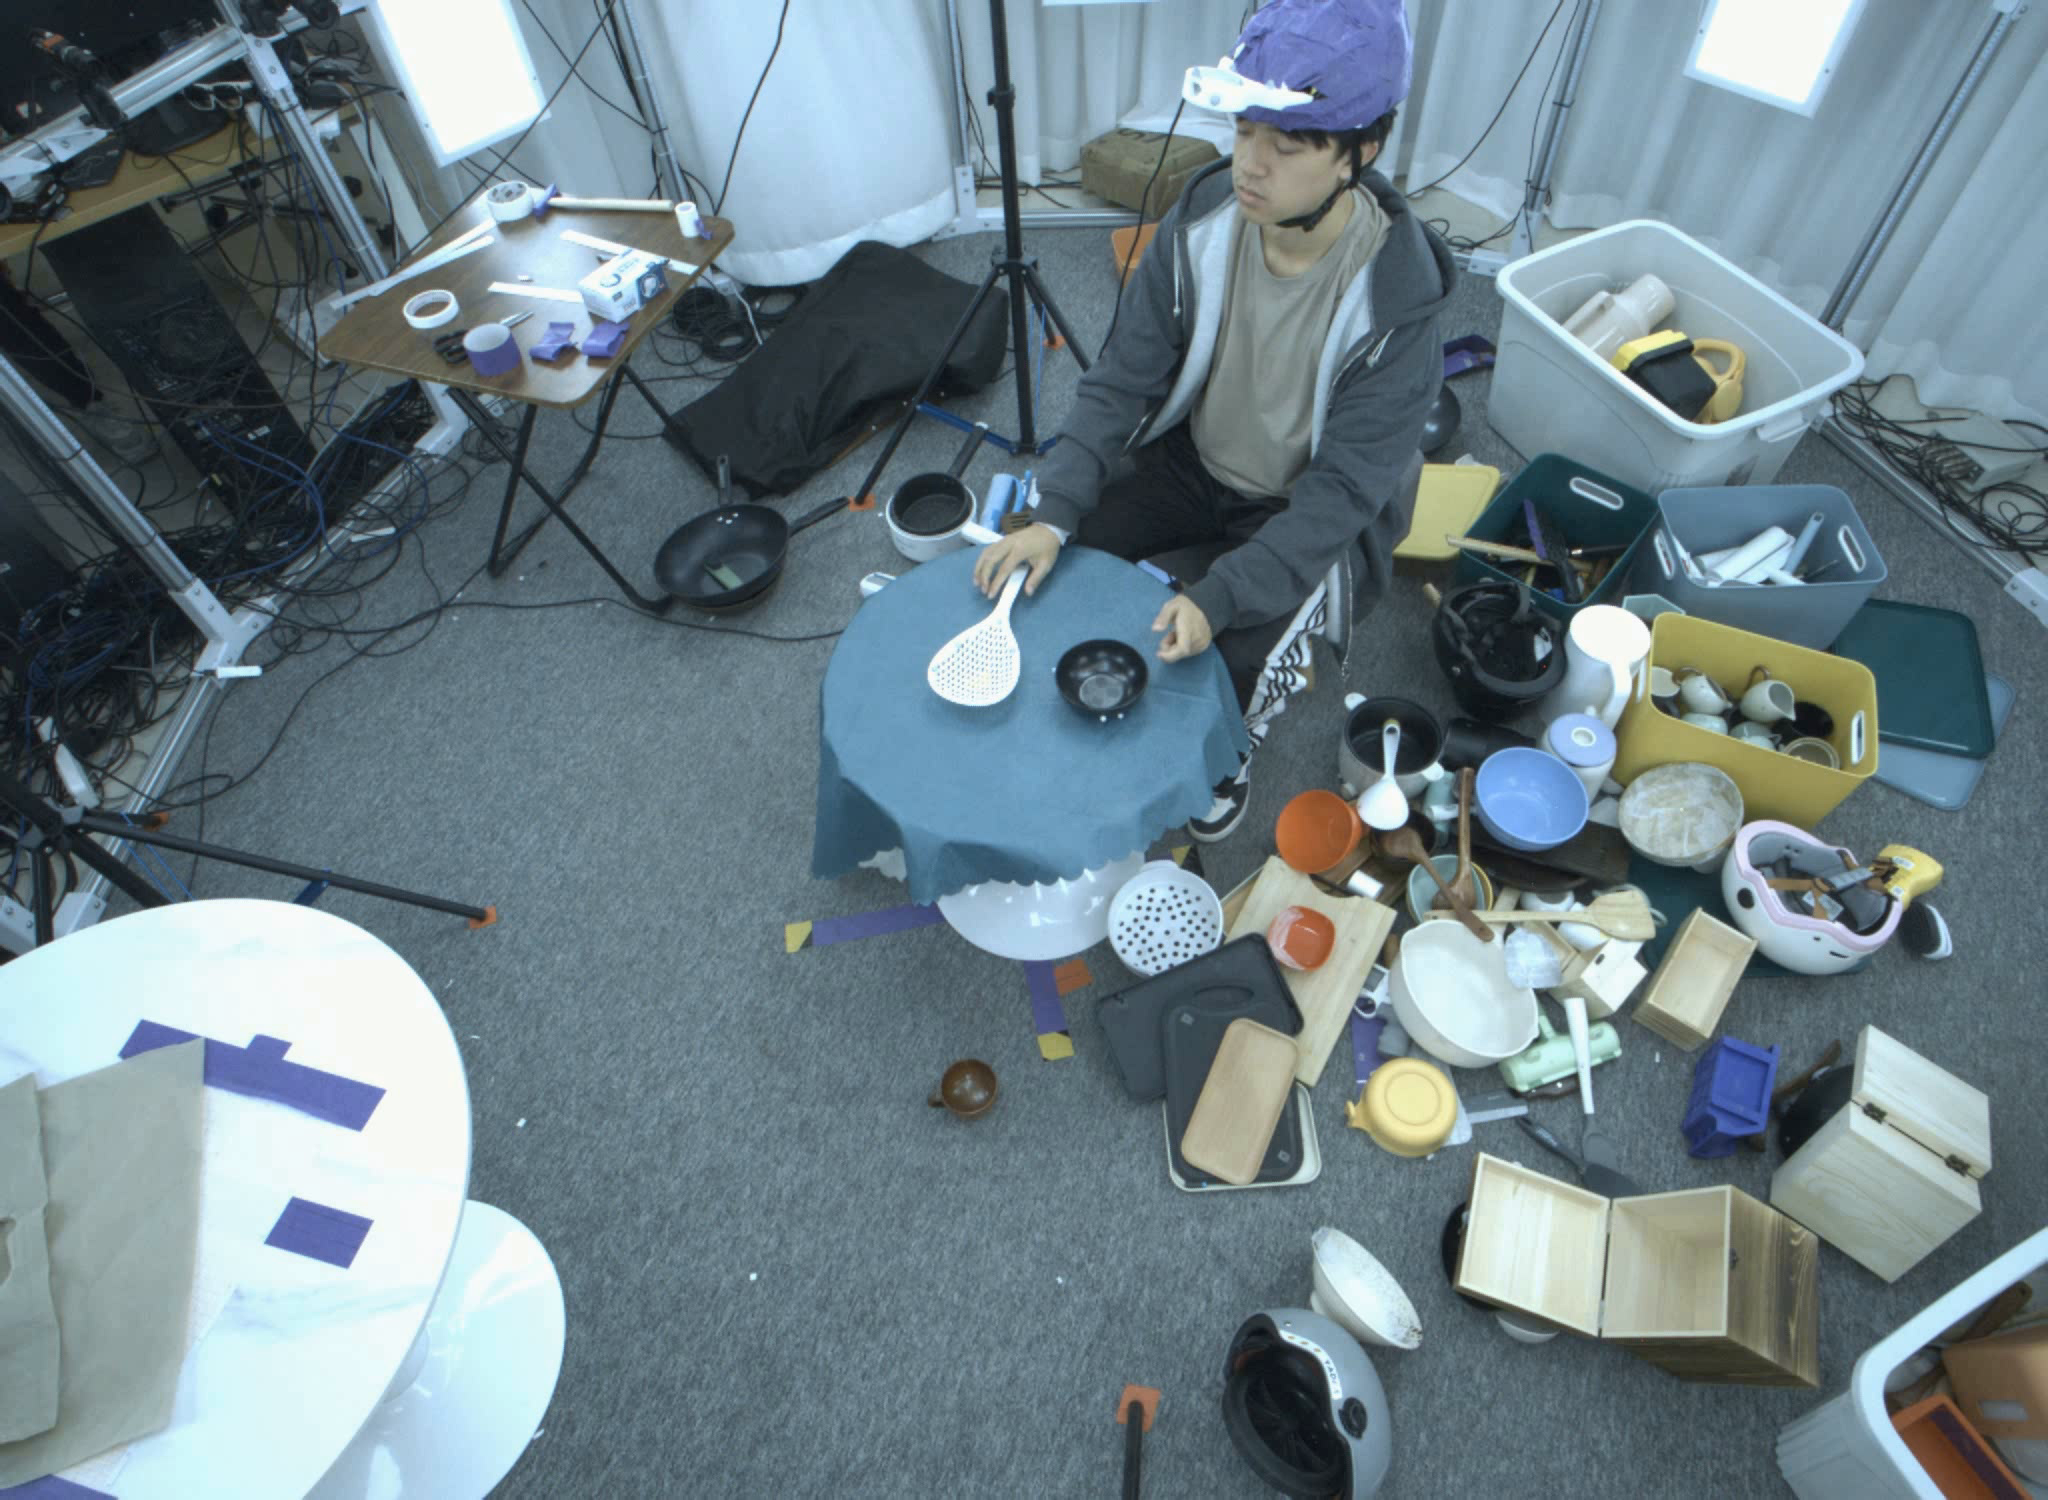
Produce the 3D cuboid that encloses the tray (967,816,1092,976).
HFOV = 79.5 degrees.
[{"bbox_3d":[0.007,0.266,2.278,0.192,0.028,0.296,-9,56,-4],"label":"tray"}]

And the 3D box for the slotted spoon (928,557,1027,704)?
[{"bbox_3d":[-0.042,-0.194,1.905,0.135,0.051,0.346,11,55,11],"label":"slotted spoon"}]
